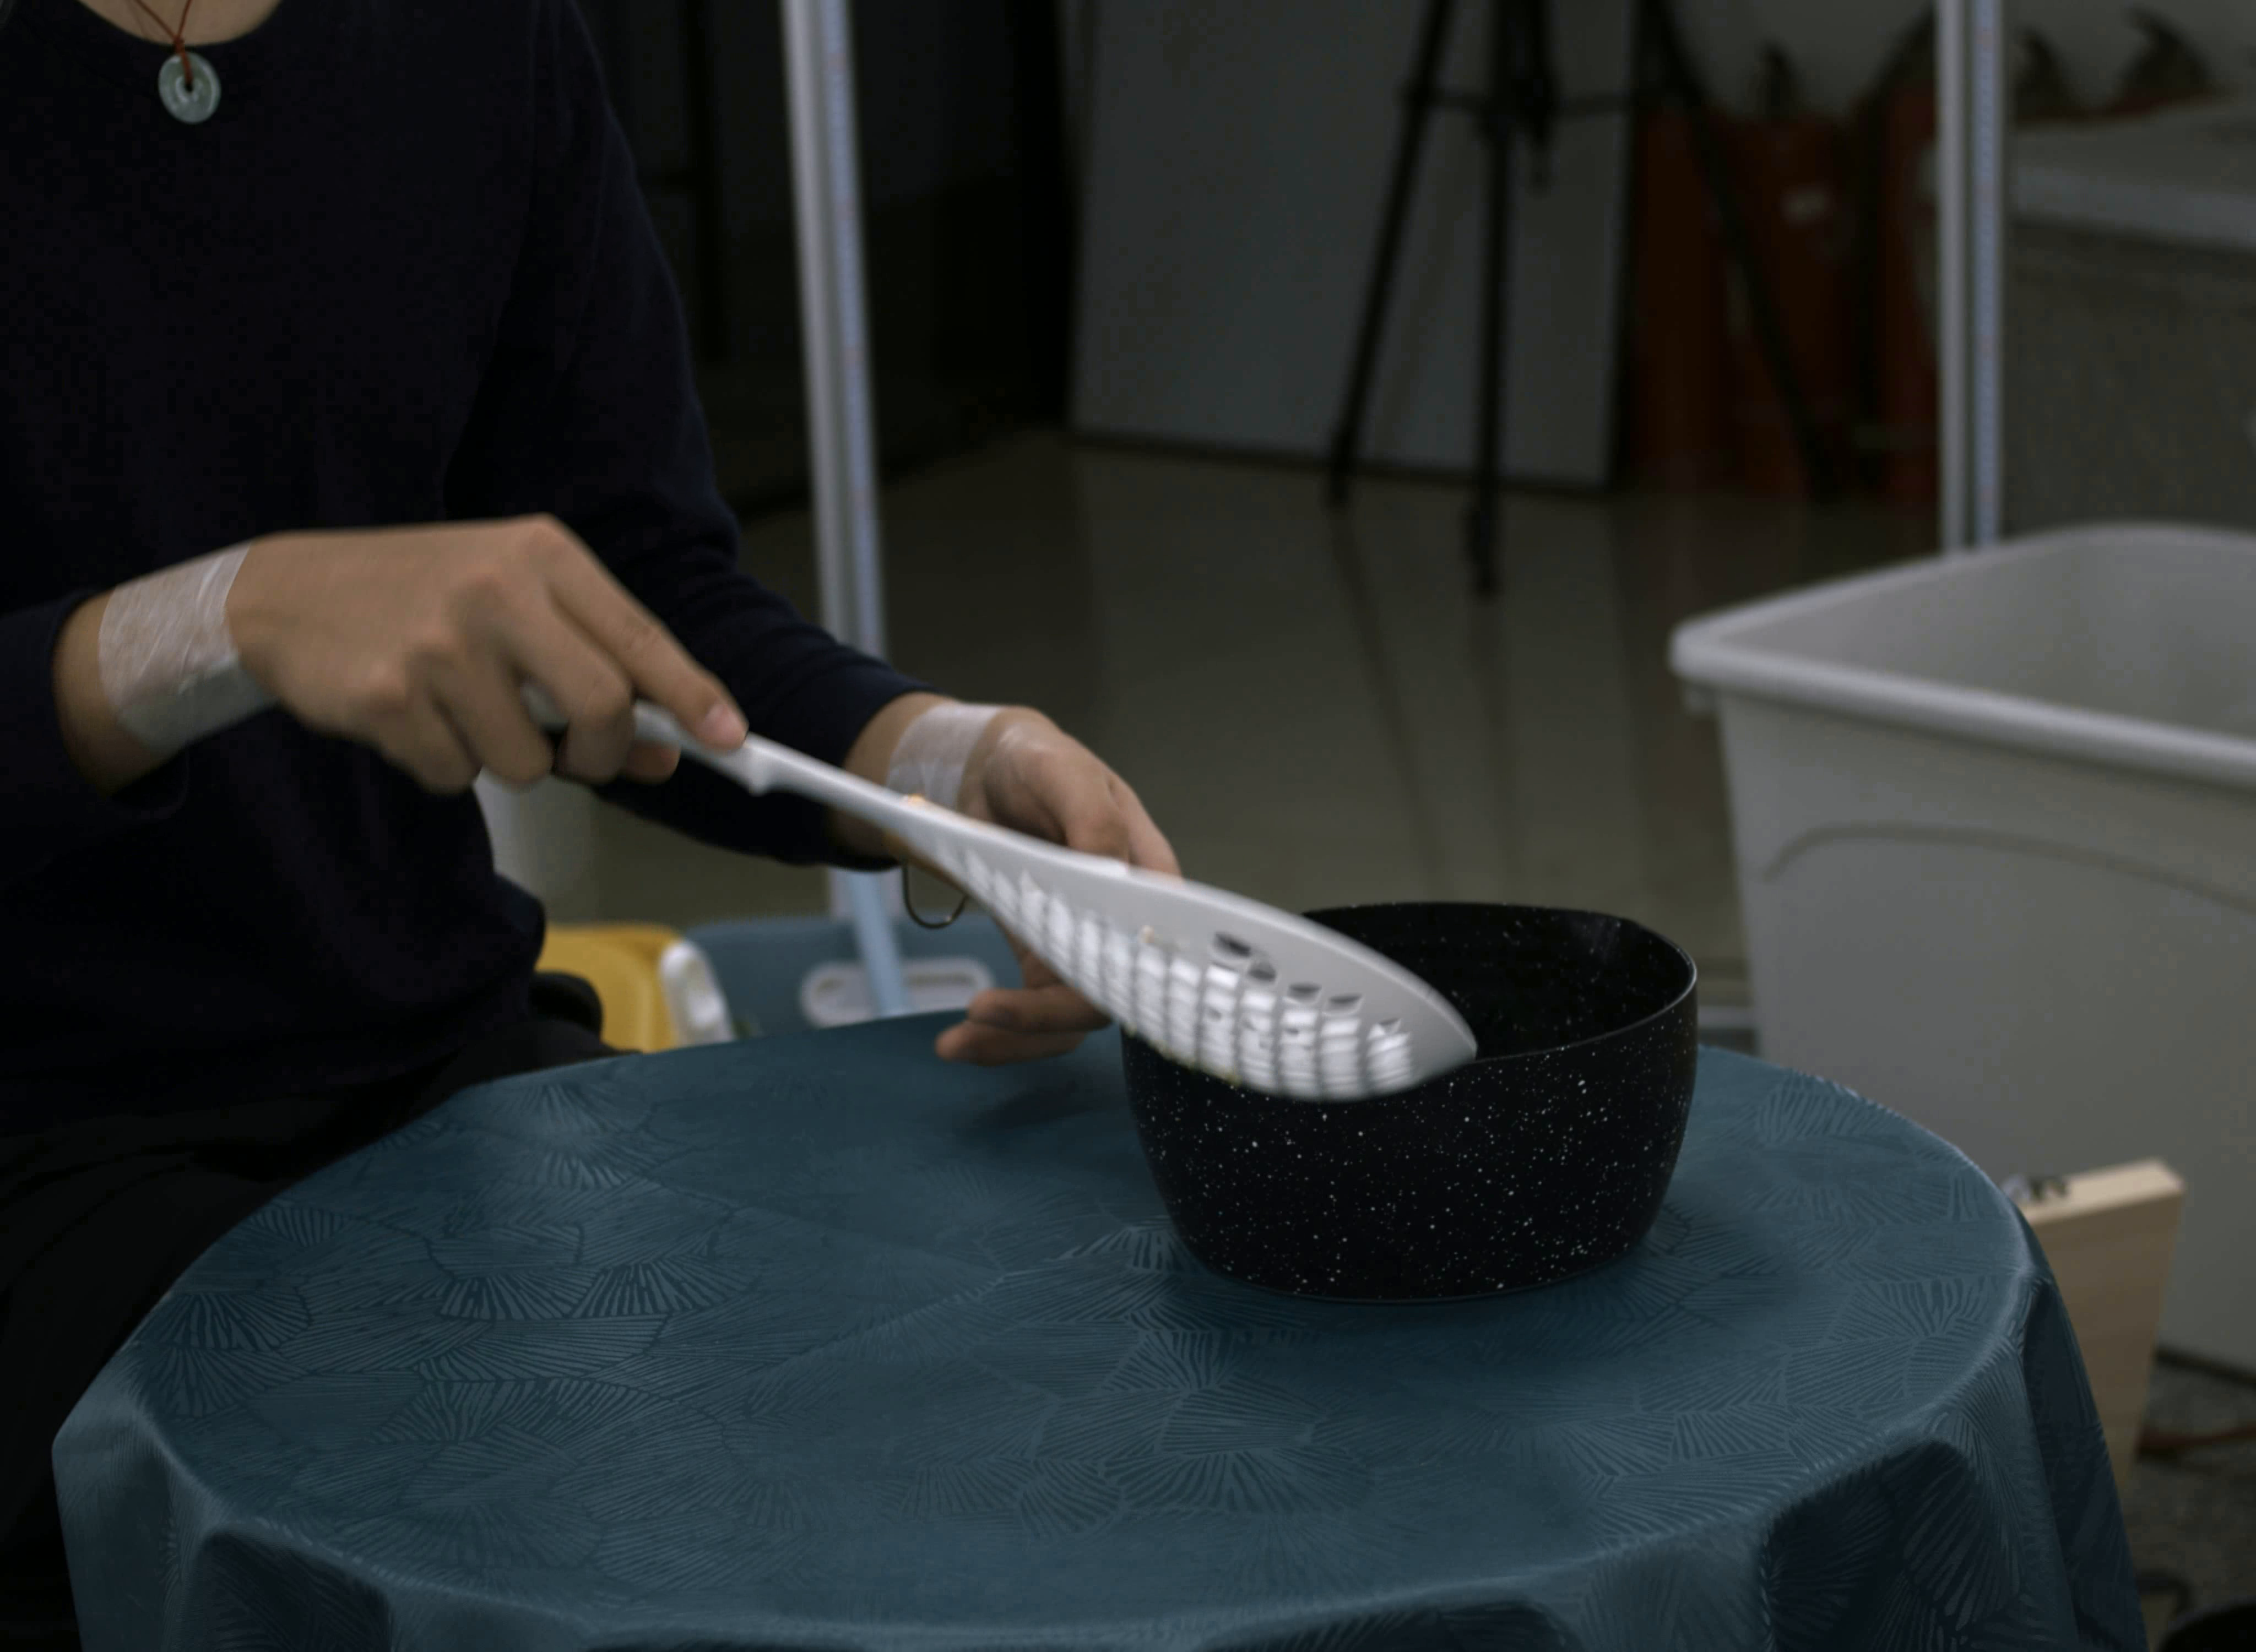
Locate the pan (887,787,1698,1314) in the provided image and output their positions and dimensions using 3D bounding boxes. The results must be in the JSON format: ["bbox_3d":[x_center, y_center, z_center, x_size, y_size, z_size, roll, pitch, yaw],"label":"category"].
[{"bbox_3d":[0.036,0.066,1.758,0.203,0.109,0.346,-17,20,-39],"label":"pan"}]

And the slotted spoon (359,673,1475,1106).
[{"bbox_3d":[-0.063,0.010,1.566,0.348,0.050,0.136,25,-8,15],"label":"slotted spoon"}]
